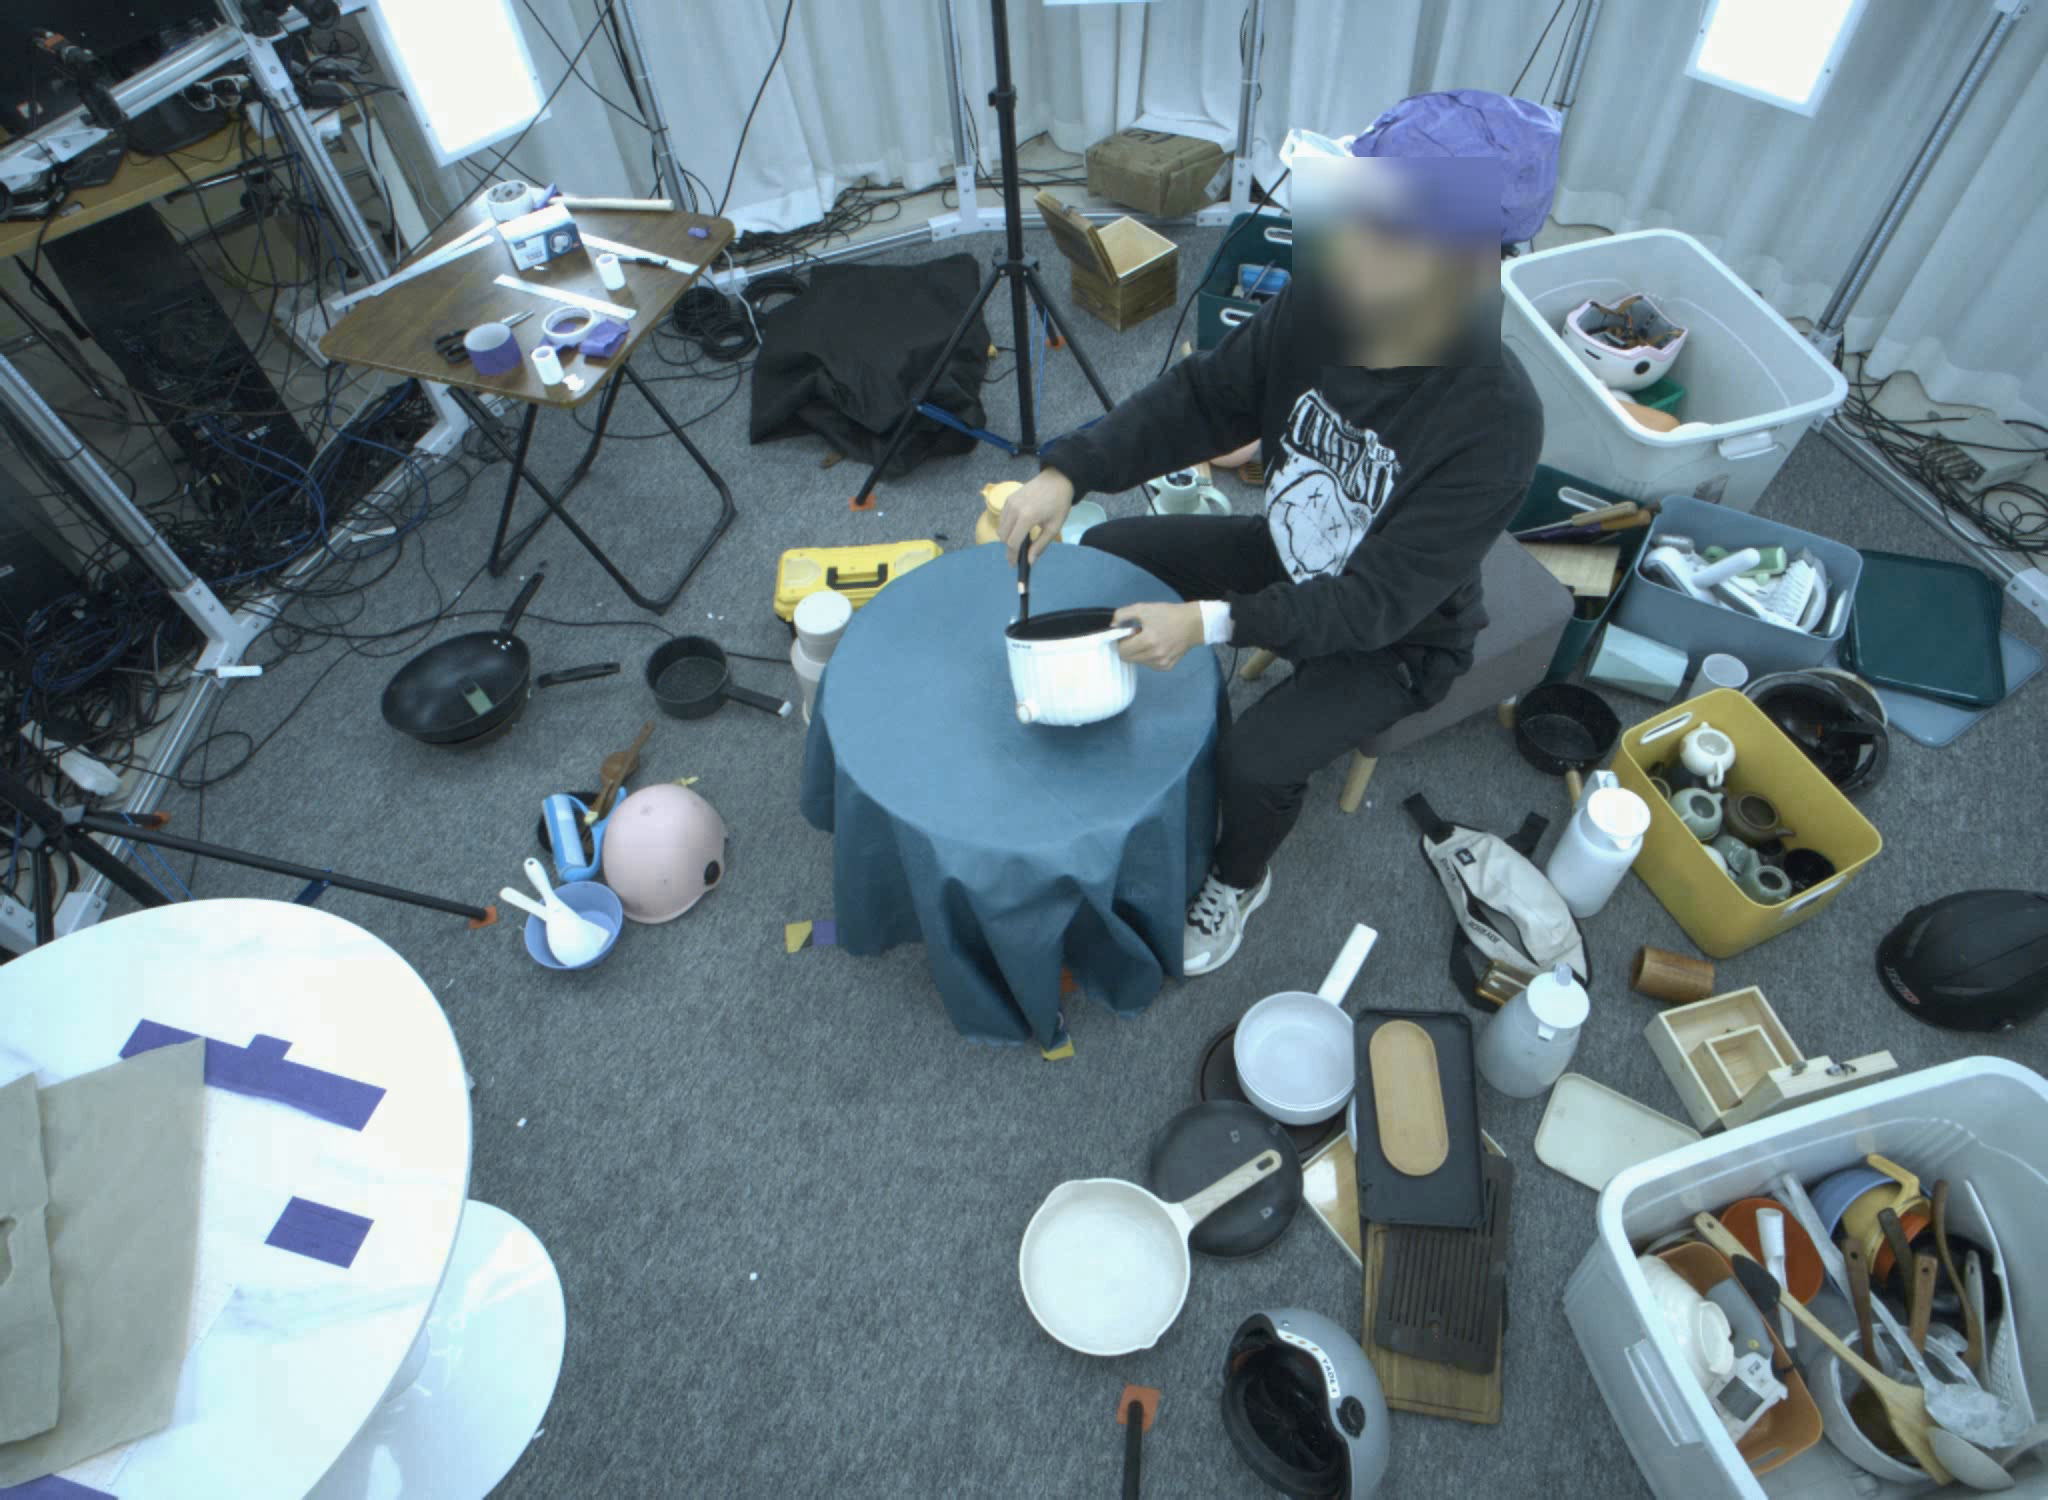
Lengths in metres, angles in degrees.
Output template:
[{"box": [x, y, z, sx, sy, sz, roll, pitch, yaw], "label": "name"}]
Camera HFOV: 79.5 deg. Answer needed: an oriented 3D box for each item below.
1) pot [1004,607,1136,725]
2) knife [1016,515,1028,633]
[{"box": [0.067, -0.117, 1.747, 0.194, 0.143, 0.235, -19, 20, -38], "label": "pot"}, {"box": [-0.004, -0.225, 1.768, 0.017, 0.226, 0.026, 0, 11, 1], "label": "knife"}]
